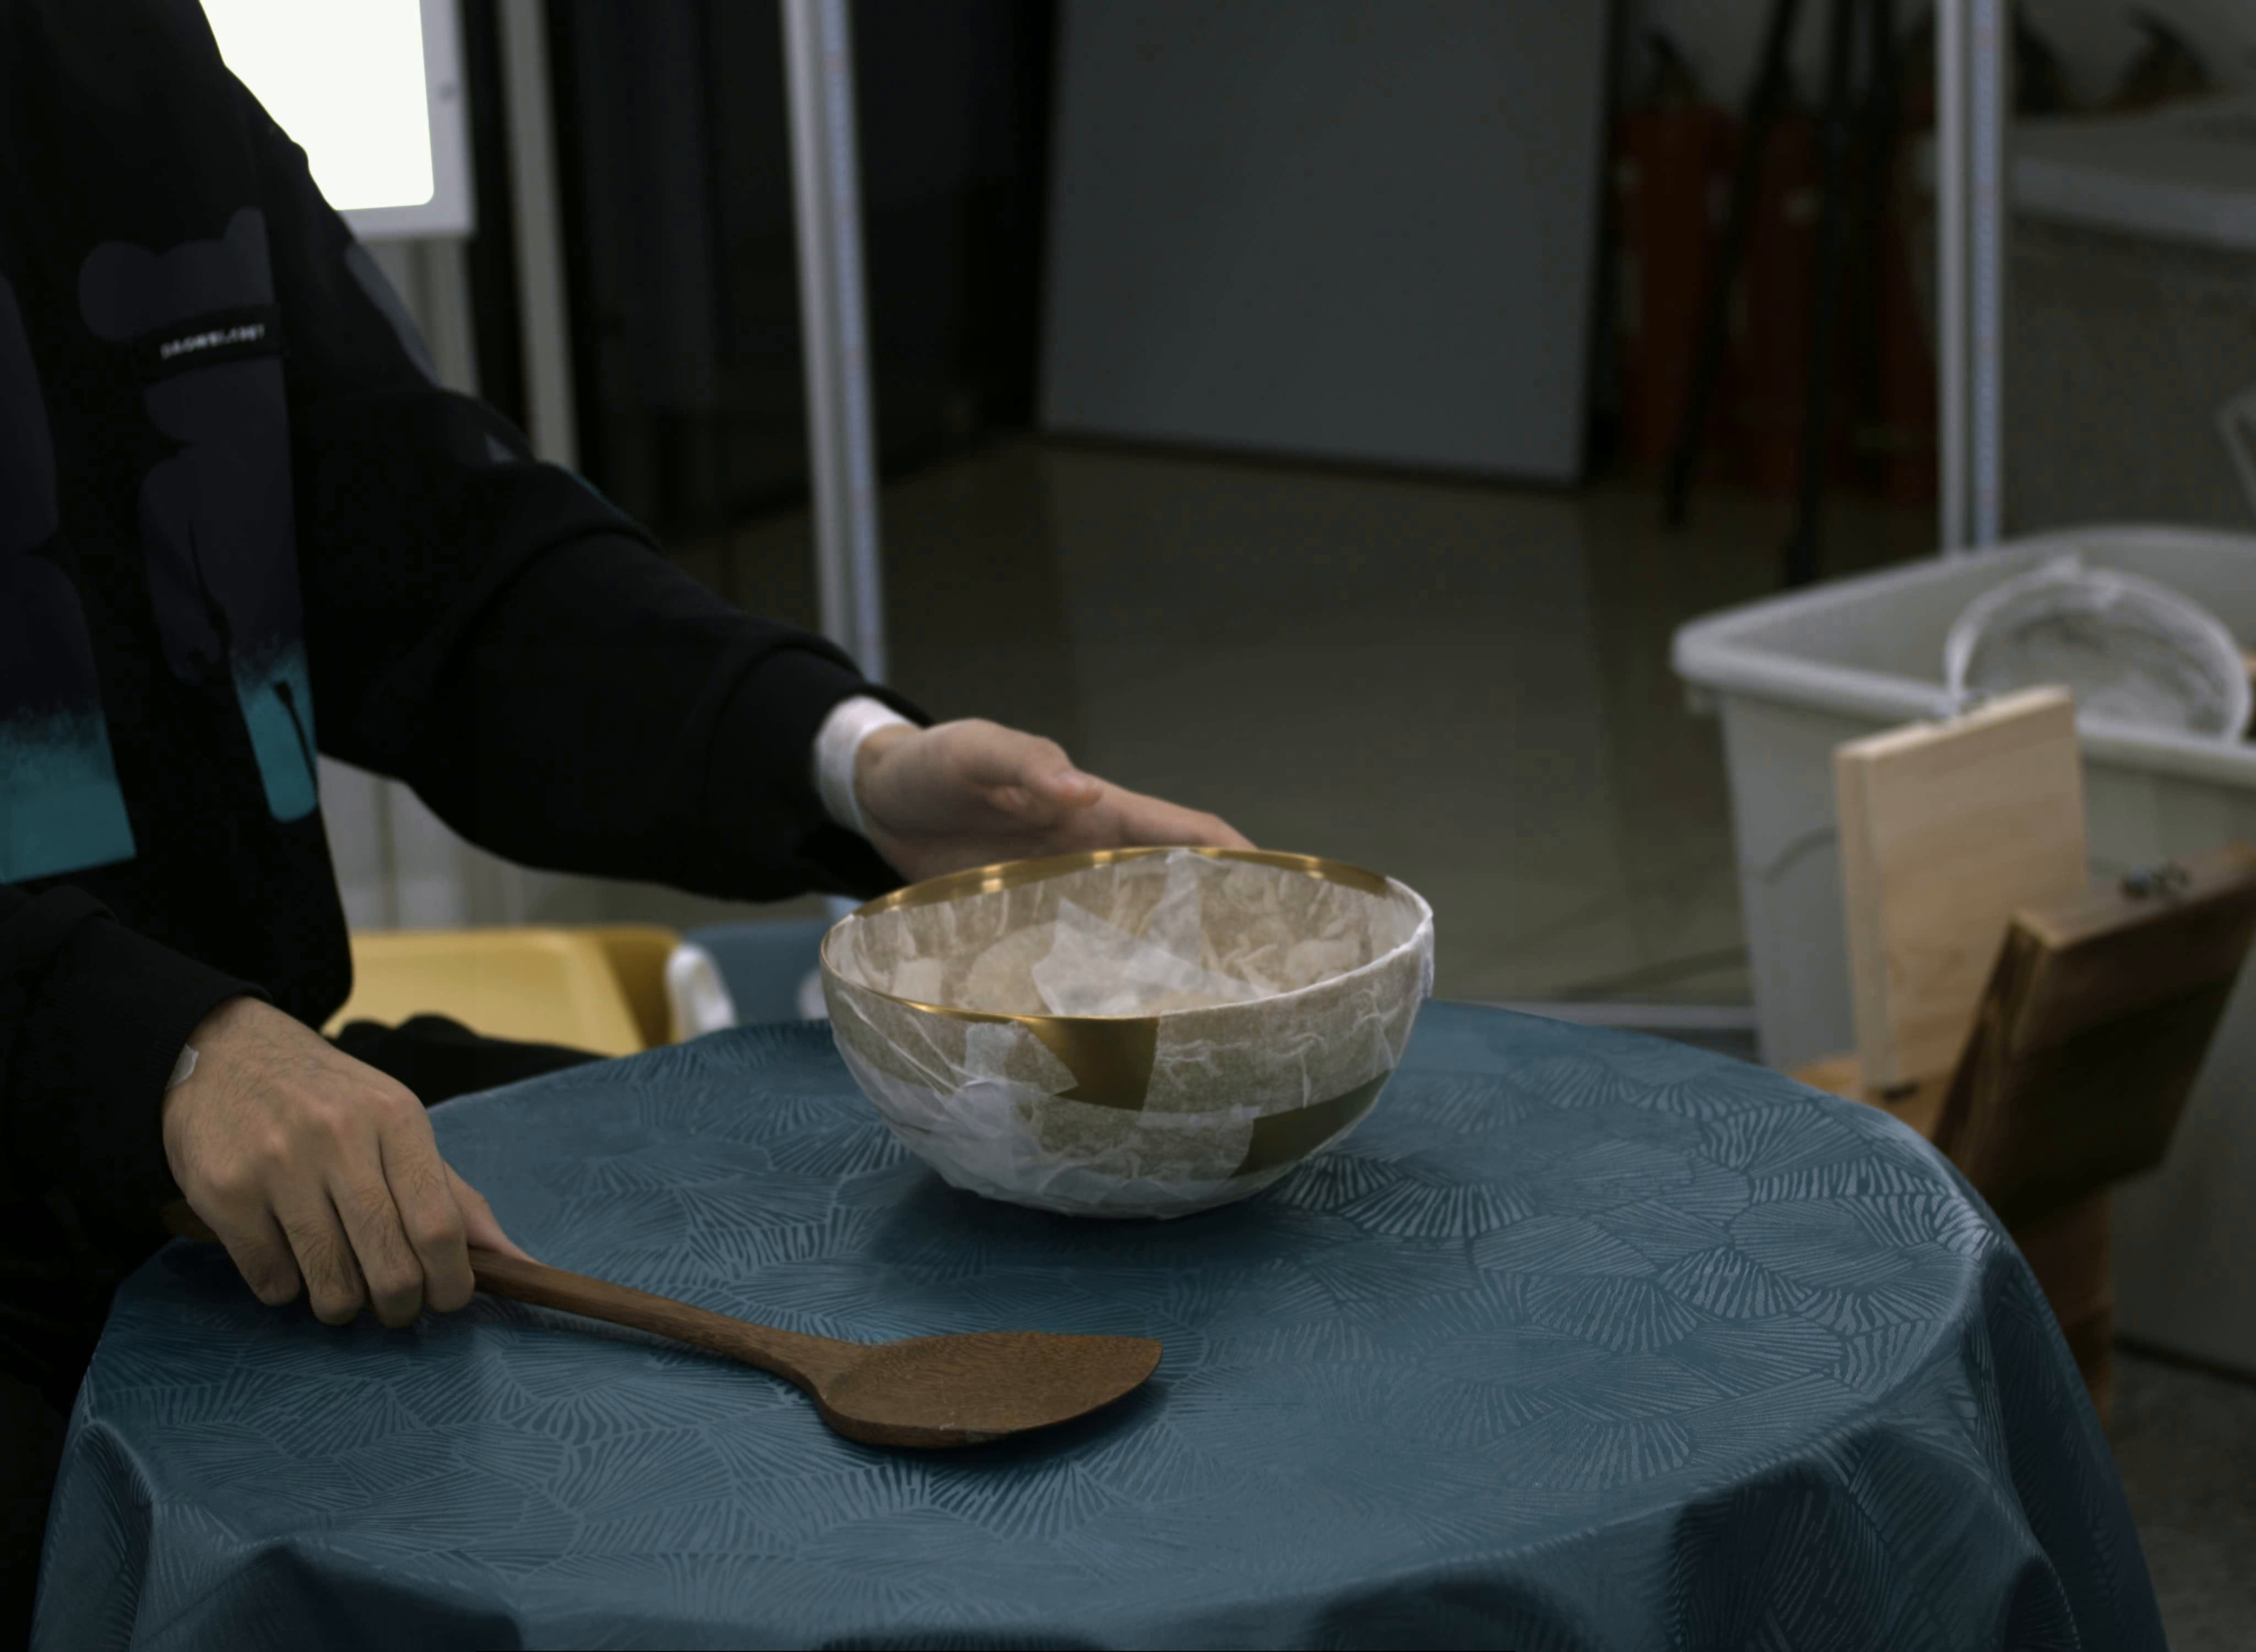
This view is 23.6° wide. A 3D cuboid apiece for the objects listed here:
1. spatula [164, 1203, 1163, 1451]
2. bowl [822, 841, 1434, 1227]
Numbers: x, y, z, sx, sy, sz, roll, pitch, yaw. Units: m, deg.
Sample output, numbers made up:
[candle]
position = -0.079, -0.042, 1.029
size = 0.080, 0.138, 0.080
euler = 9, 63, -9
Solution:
[spatula]
position = -0.159, 0.149, 1.665
size = 0.388, 0.016, 0.094
euler = 8, 17, 36
[bowl]
position = 0.001, 0.075, 1.765
size = 0.212, 0.095, 0.215
euler = -6, 14, 1
